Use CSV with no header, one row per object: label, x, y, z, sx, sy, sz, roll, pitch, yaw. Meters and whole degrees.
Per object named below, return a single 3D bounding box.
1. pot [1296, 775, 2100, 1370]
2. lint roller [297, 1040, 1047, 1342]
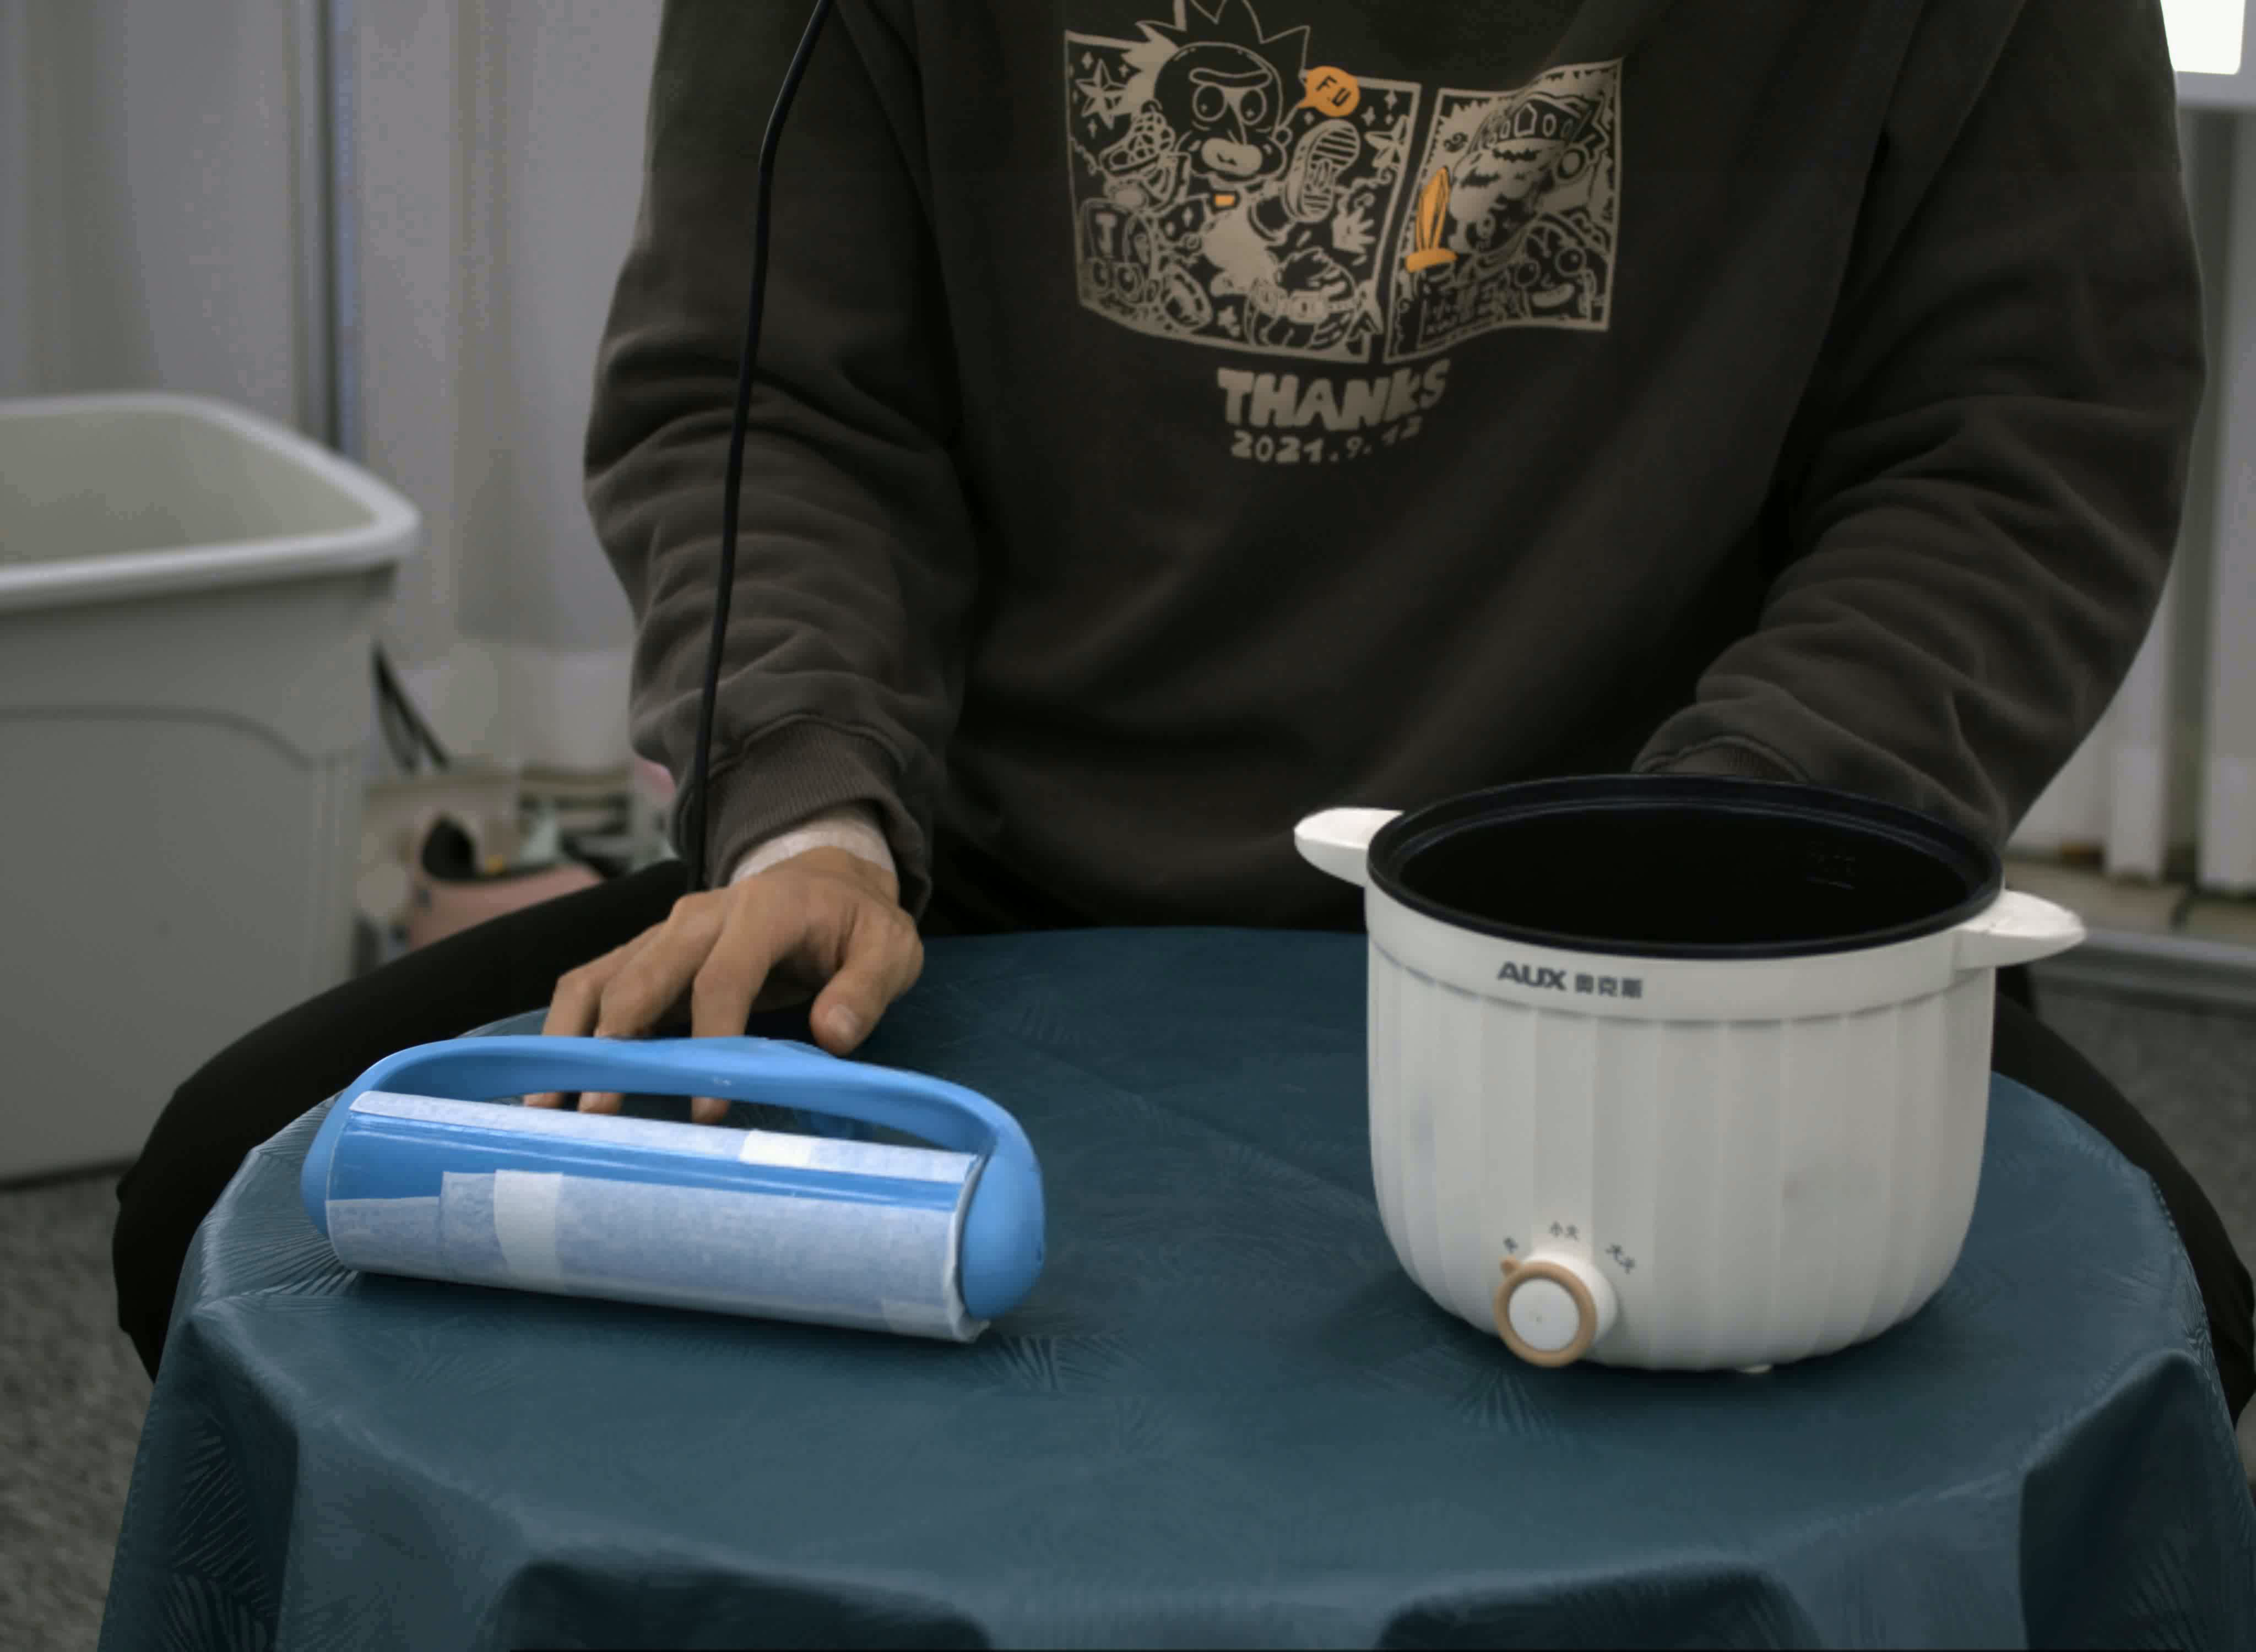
pot,0.157,0.073,1.516,0.238,0.143,0.191,6,14,24
lint roller,-0.119,0.096,1.579,0.227,0.068,0.180,3,16,14
